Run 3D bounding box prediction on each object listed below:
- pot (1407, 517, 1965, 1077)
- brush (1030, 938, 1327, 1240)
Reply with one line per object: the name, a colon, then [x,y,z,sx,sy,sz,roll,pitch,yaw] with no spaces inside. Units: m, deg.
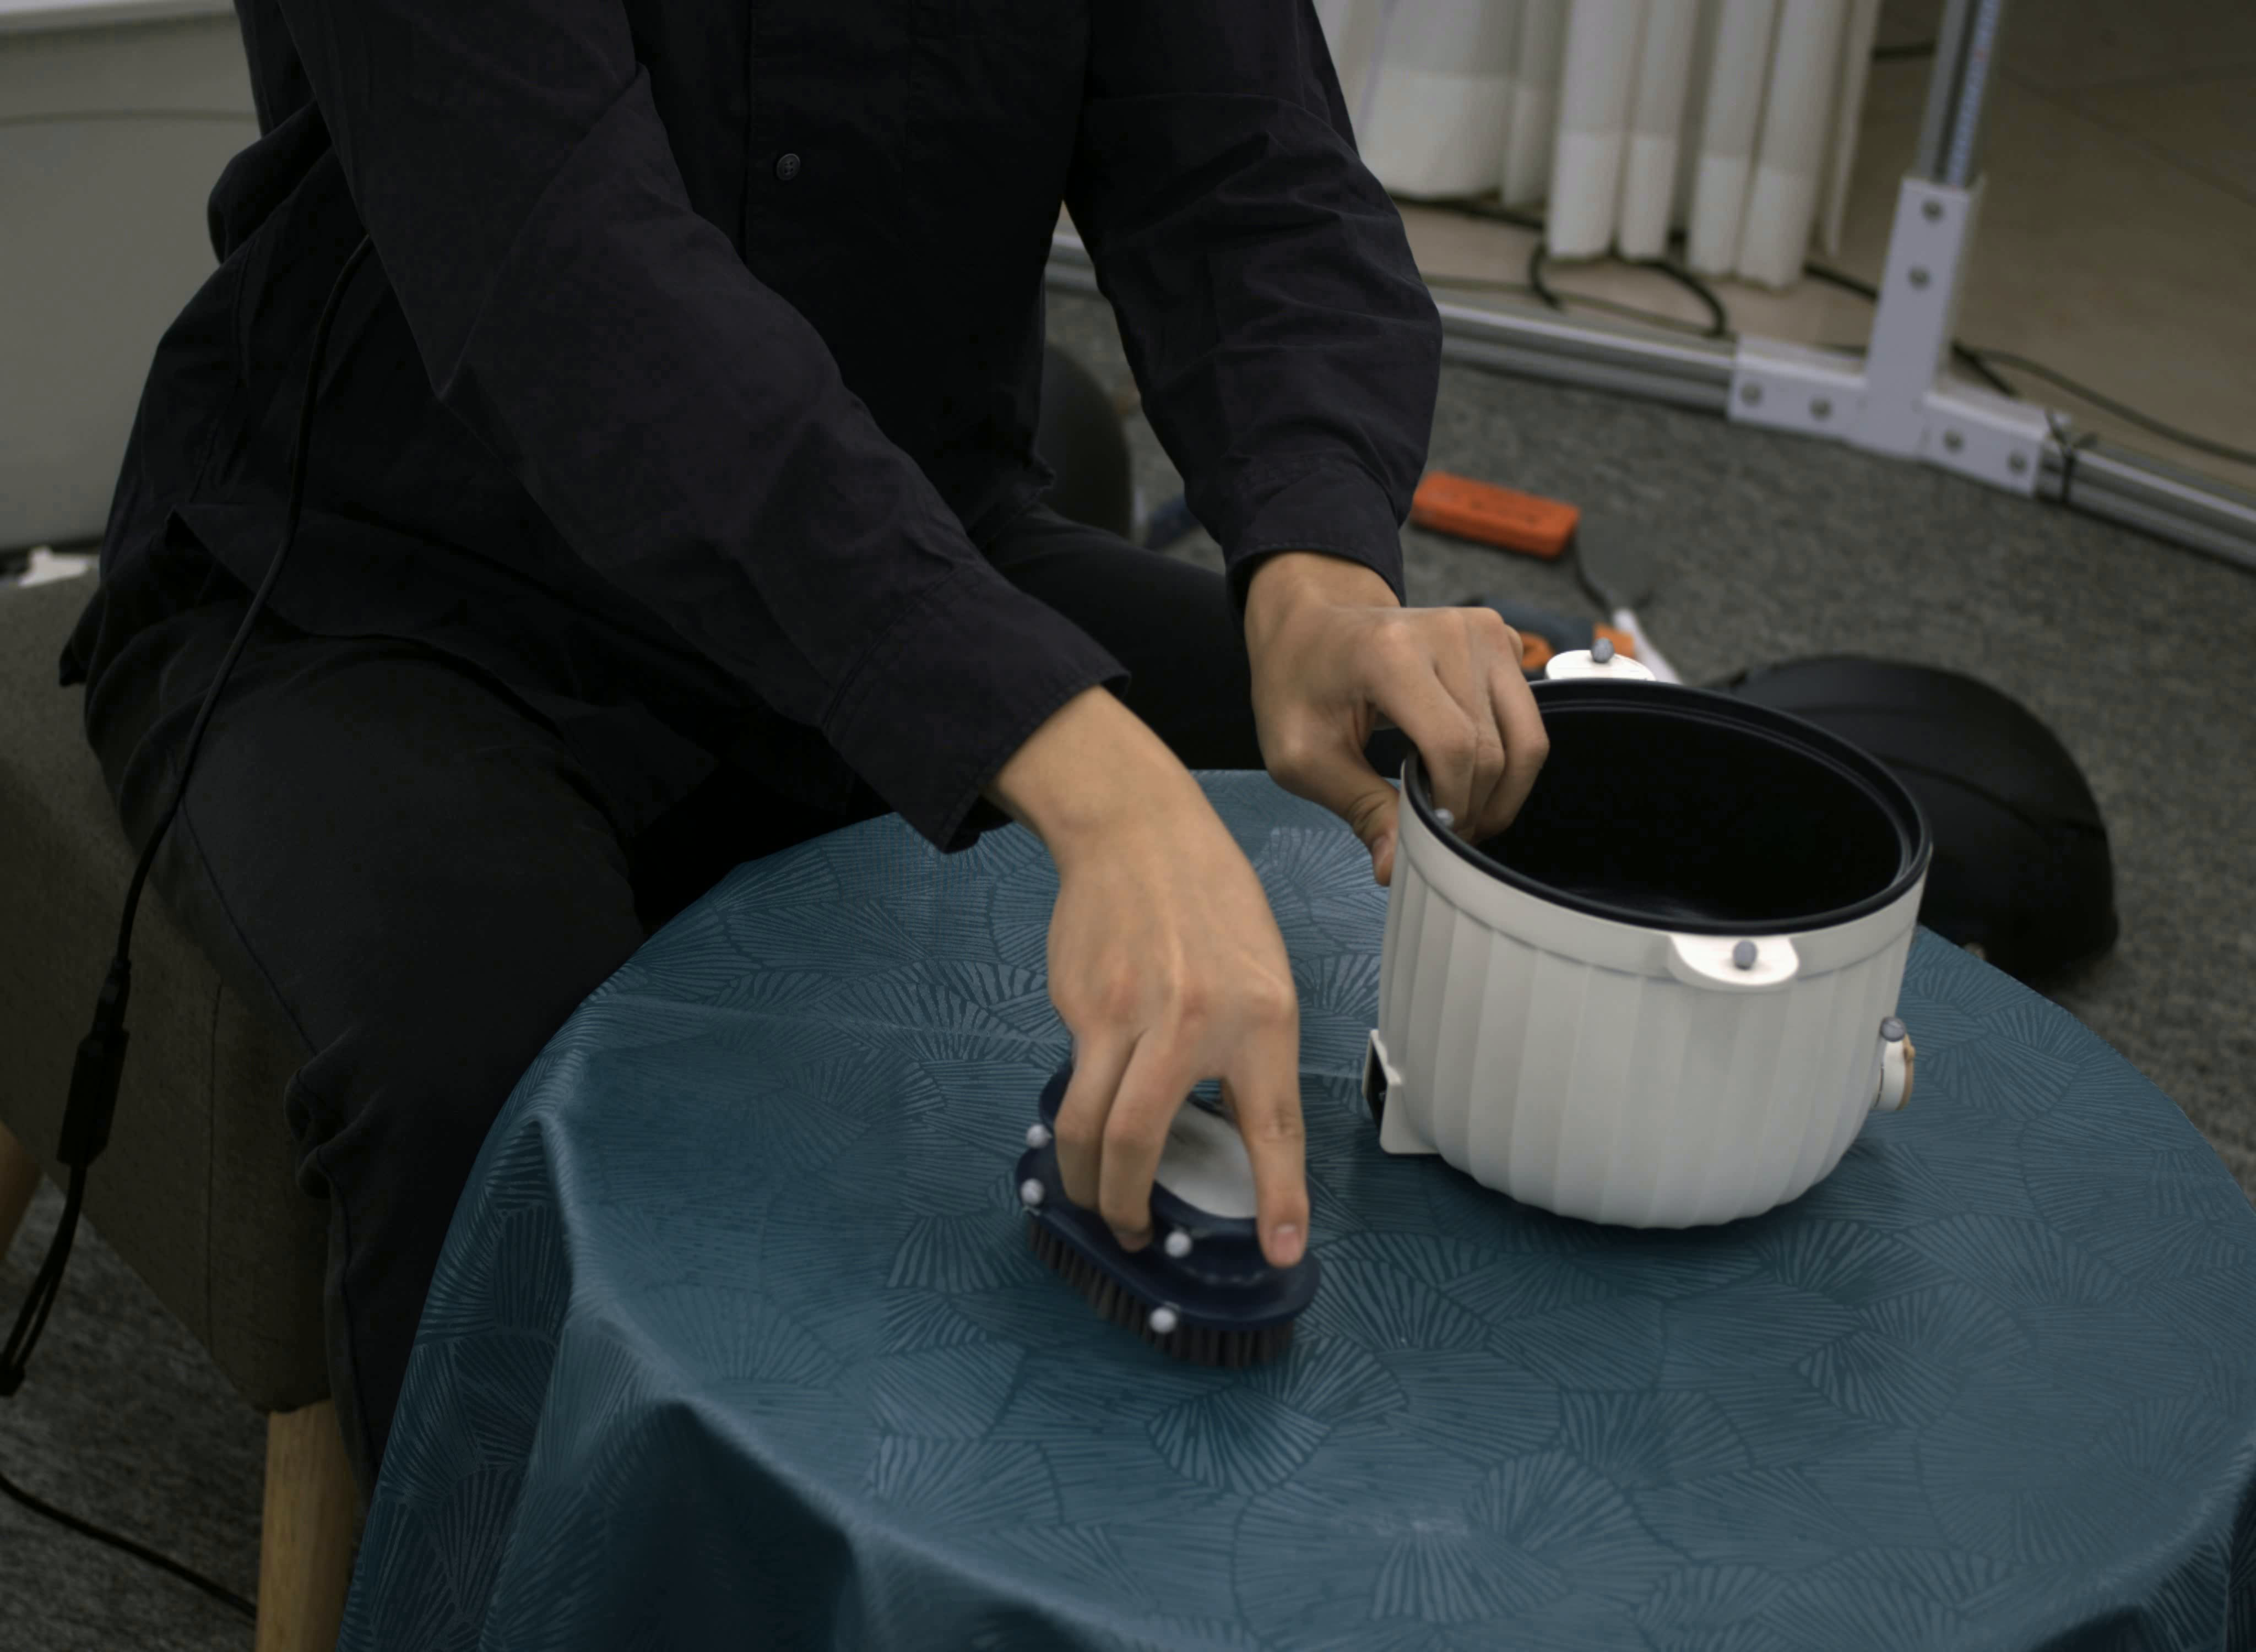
pot: [0.198,-0.002,1.871,0.189,0.142,0.242,-1,29,-9]
brush: [0.017,0.089,1.767,0.067,0.061,0.123,-15,36,-31]
